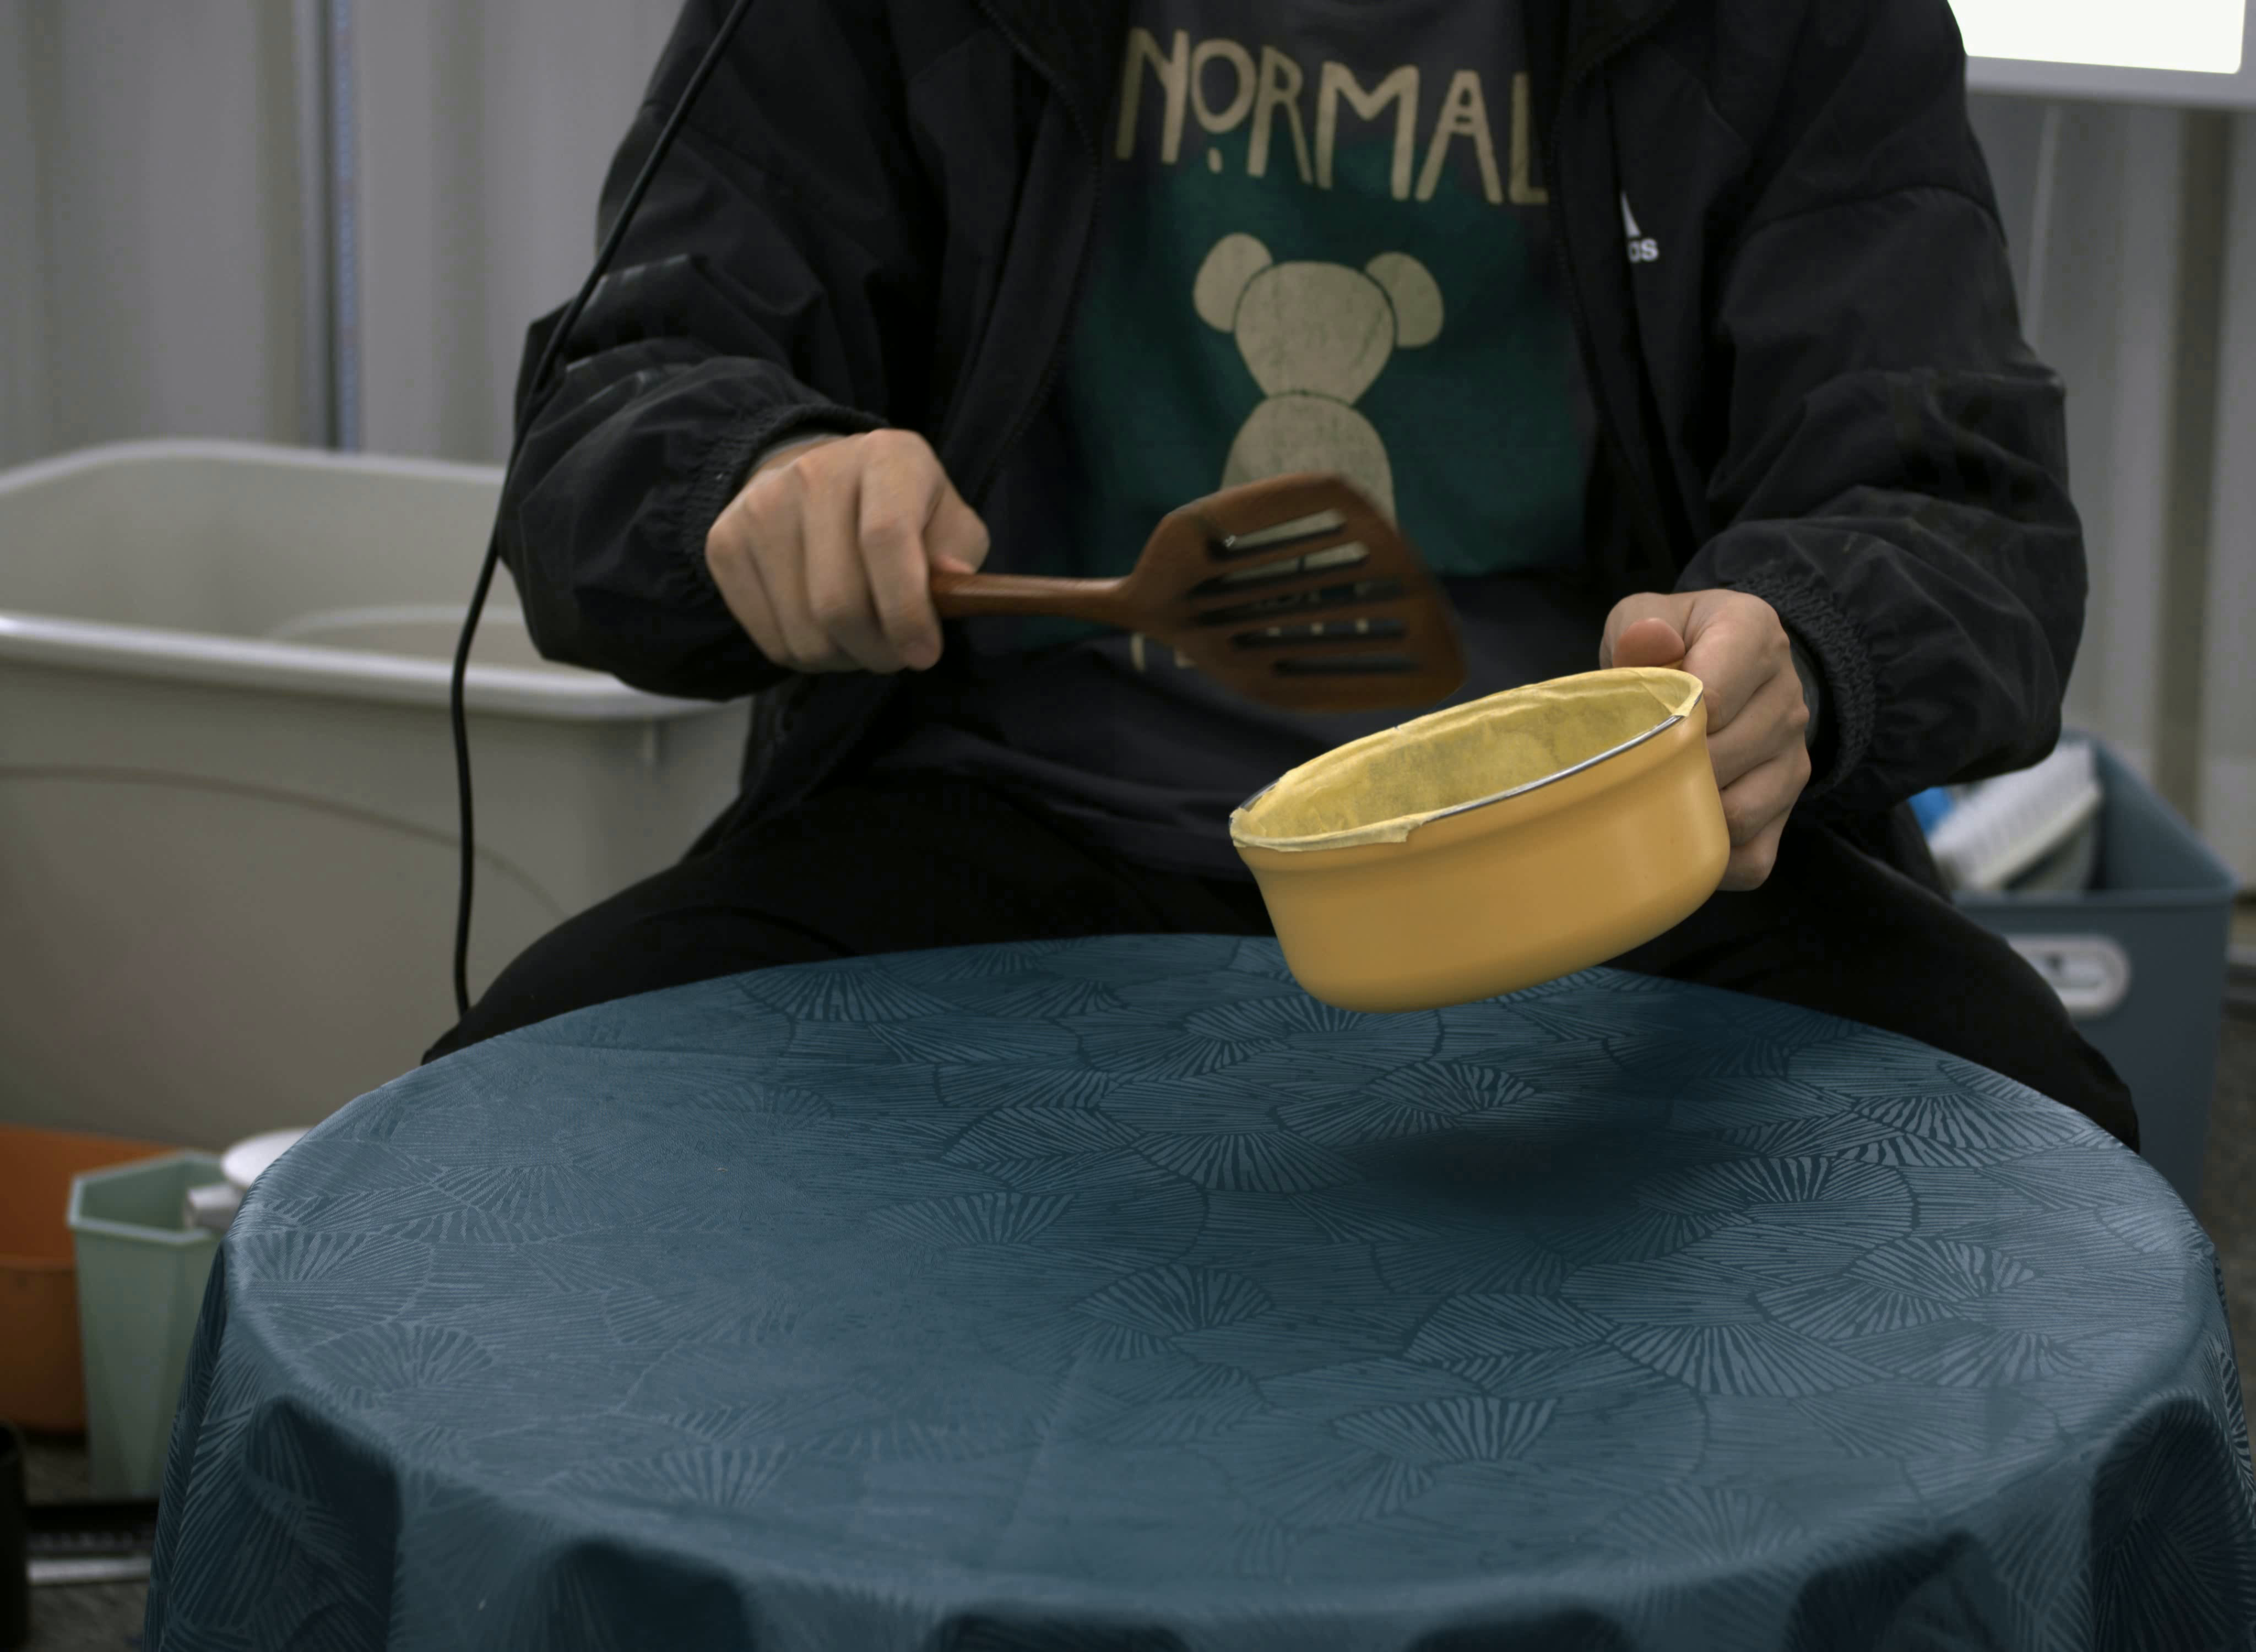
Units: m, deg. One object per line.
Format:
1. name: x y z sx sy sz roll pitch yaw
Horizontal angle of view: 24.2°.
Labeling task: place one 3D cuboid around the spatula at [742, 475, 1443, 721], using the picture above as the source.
1. spatula: -0.029 -0.067 1.706 0.024 0.086 0.383 -42 22 -25

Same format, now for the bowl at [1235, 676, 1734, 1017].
1. bowl: 0.124 0.005 1.636 0.151 0.075 0.179 -7 16 39
